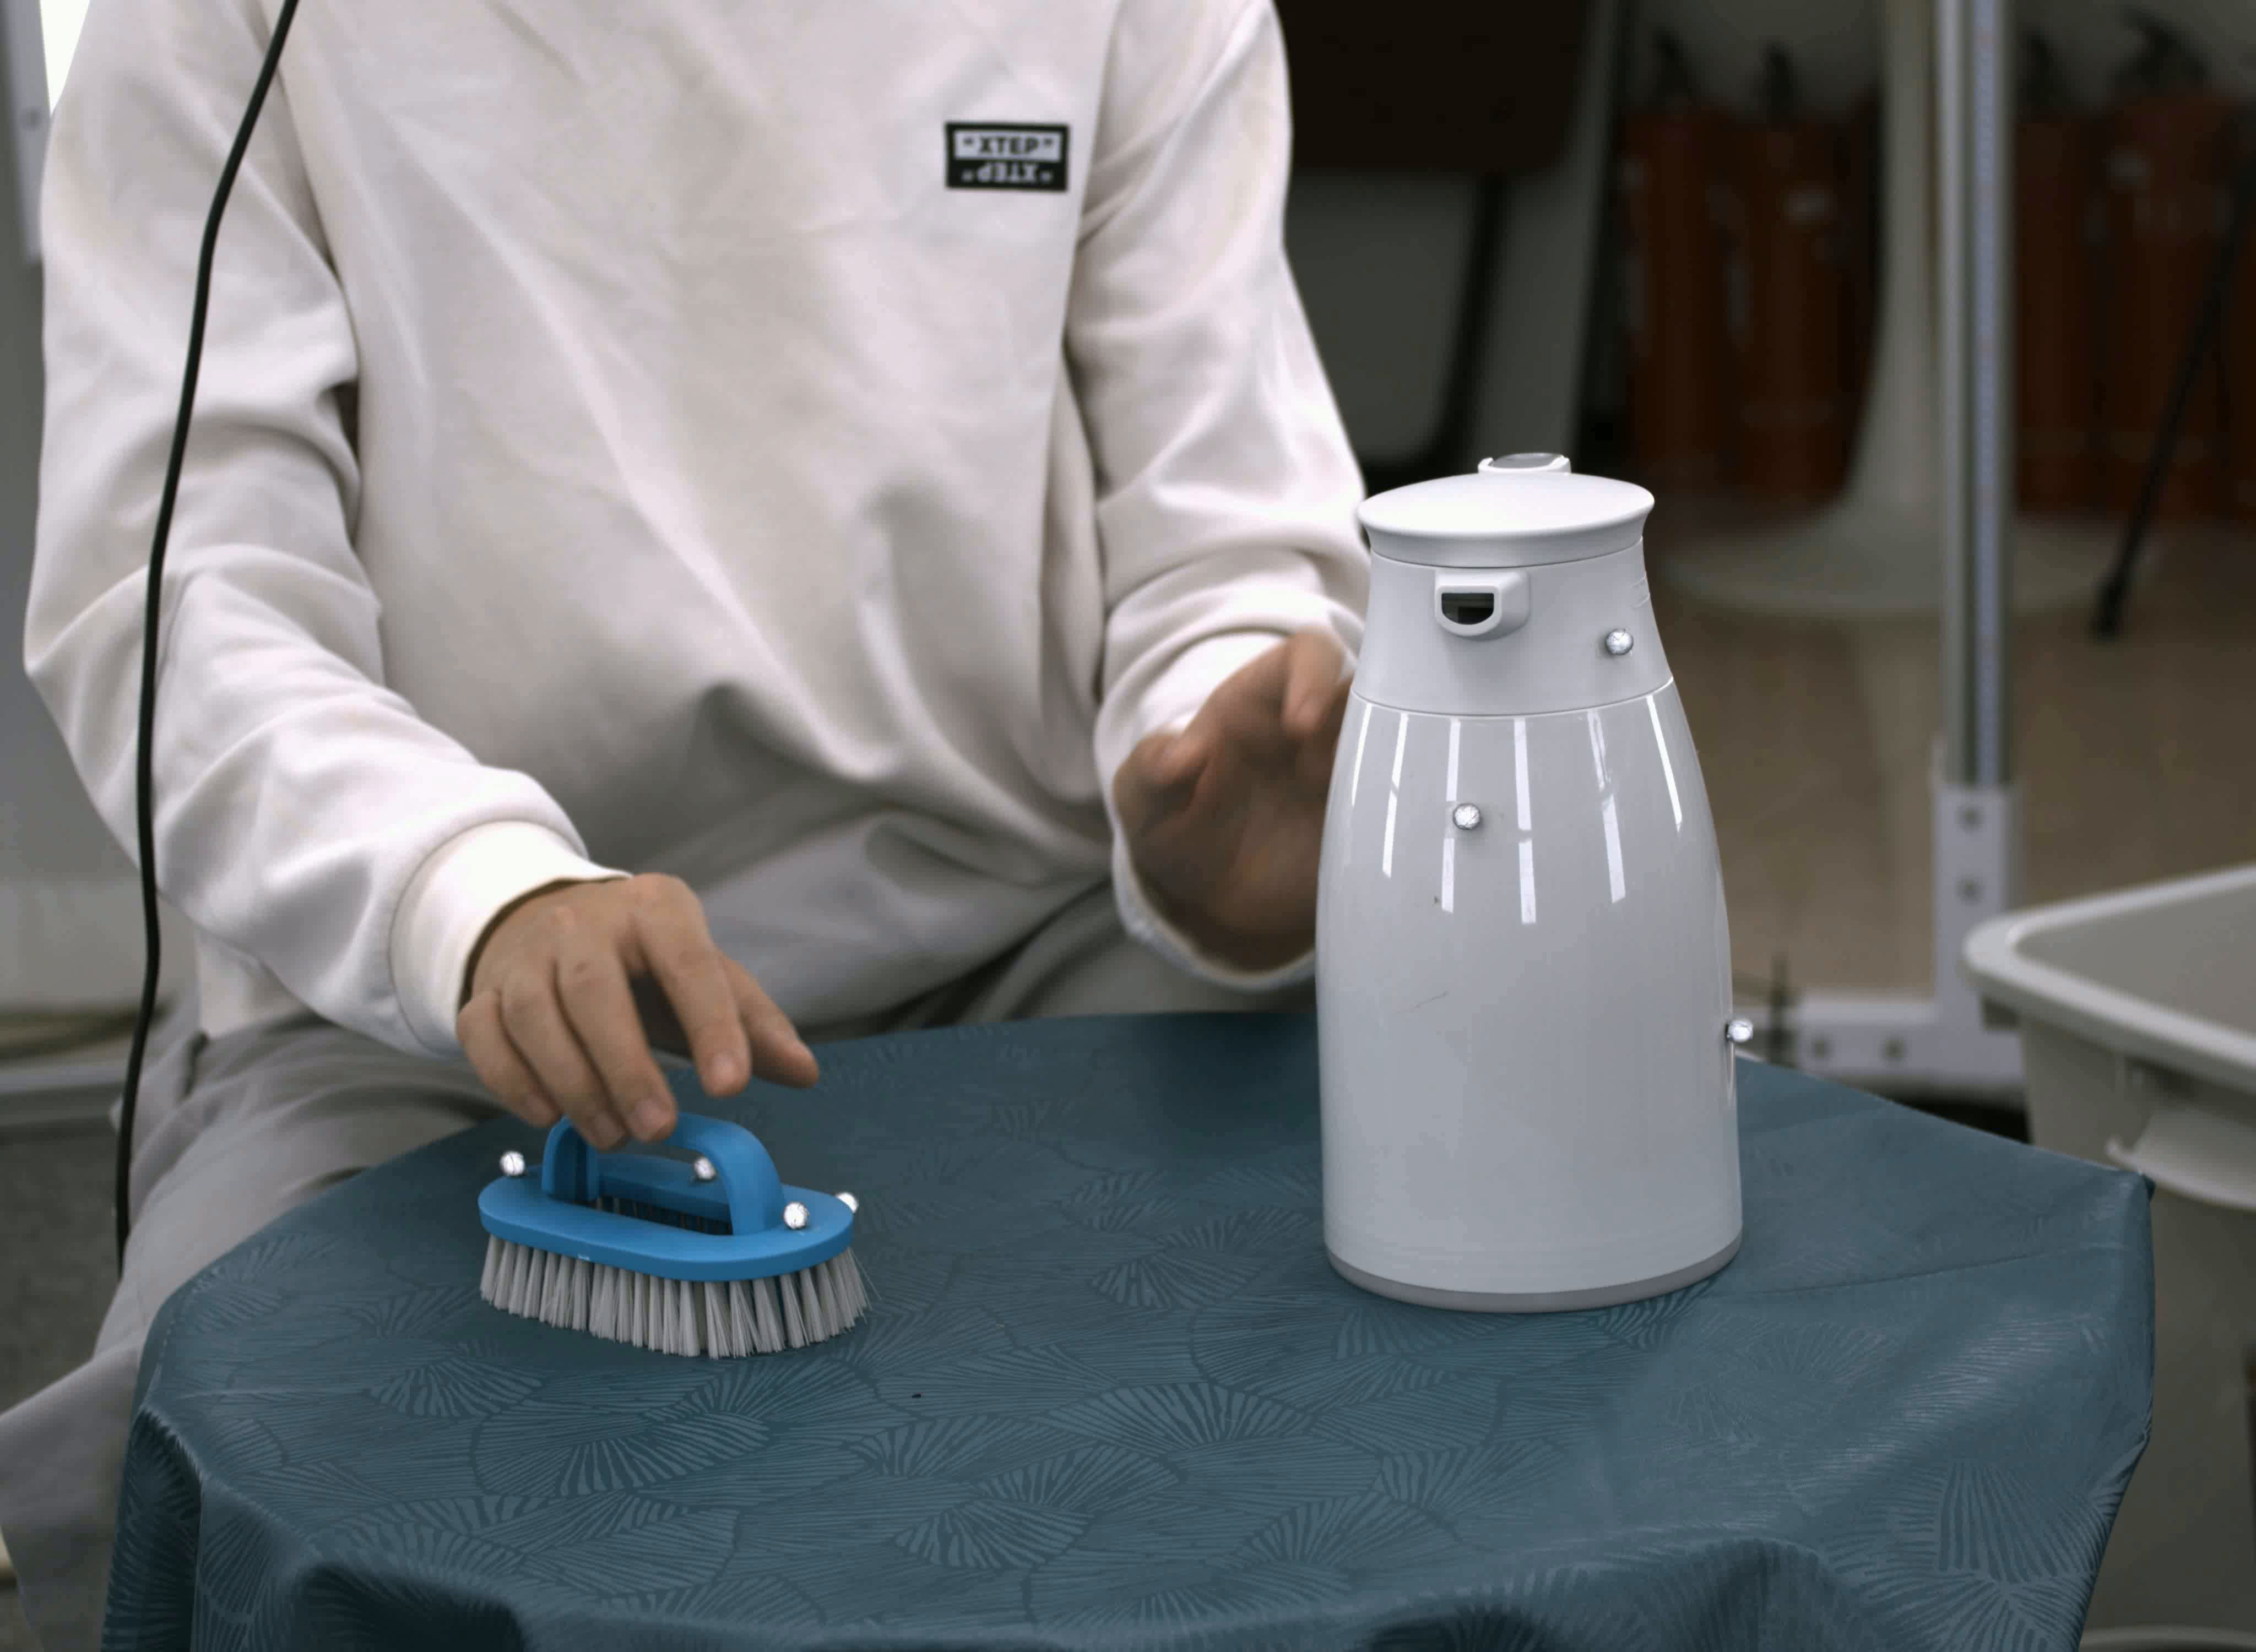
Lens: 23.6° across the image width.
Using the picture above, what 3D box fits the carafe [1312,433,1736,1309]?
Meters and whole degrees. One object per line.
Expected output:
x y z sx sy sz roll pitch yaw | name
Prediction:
0.123 0.006 1.682 0.132 0.251 0.166 0 13 15 | carafe

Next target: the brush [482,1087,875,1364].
-0.144 0.117 1.688 0.143 0.064 0.083 9 23 43 | brush
